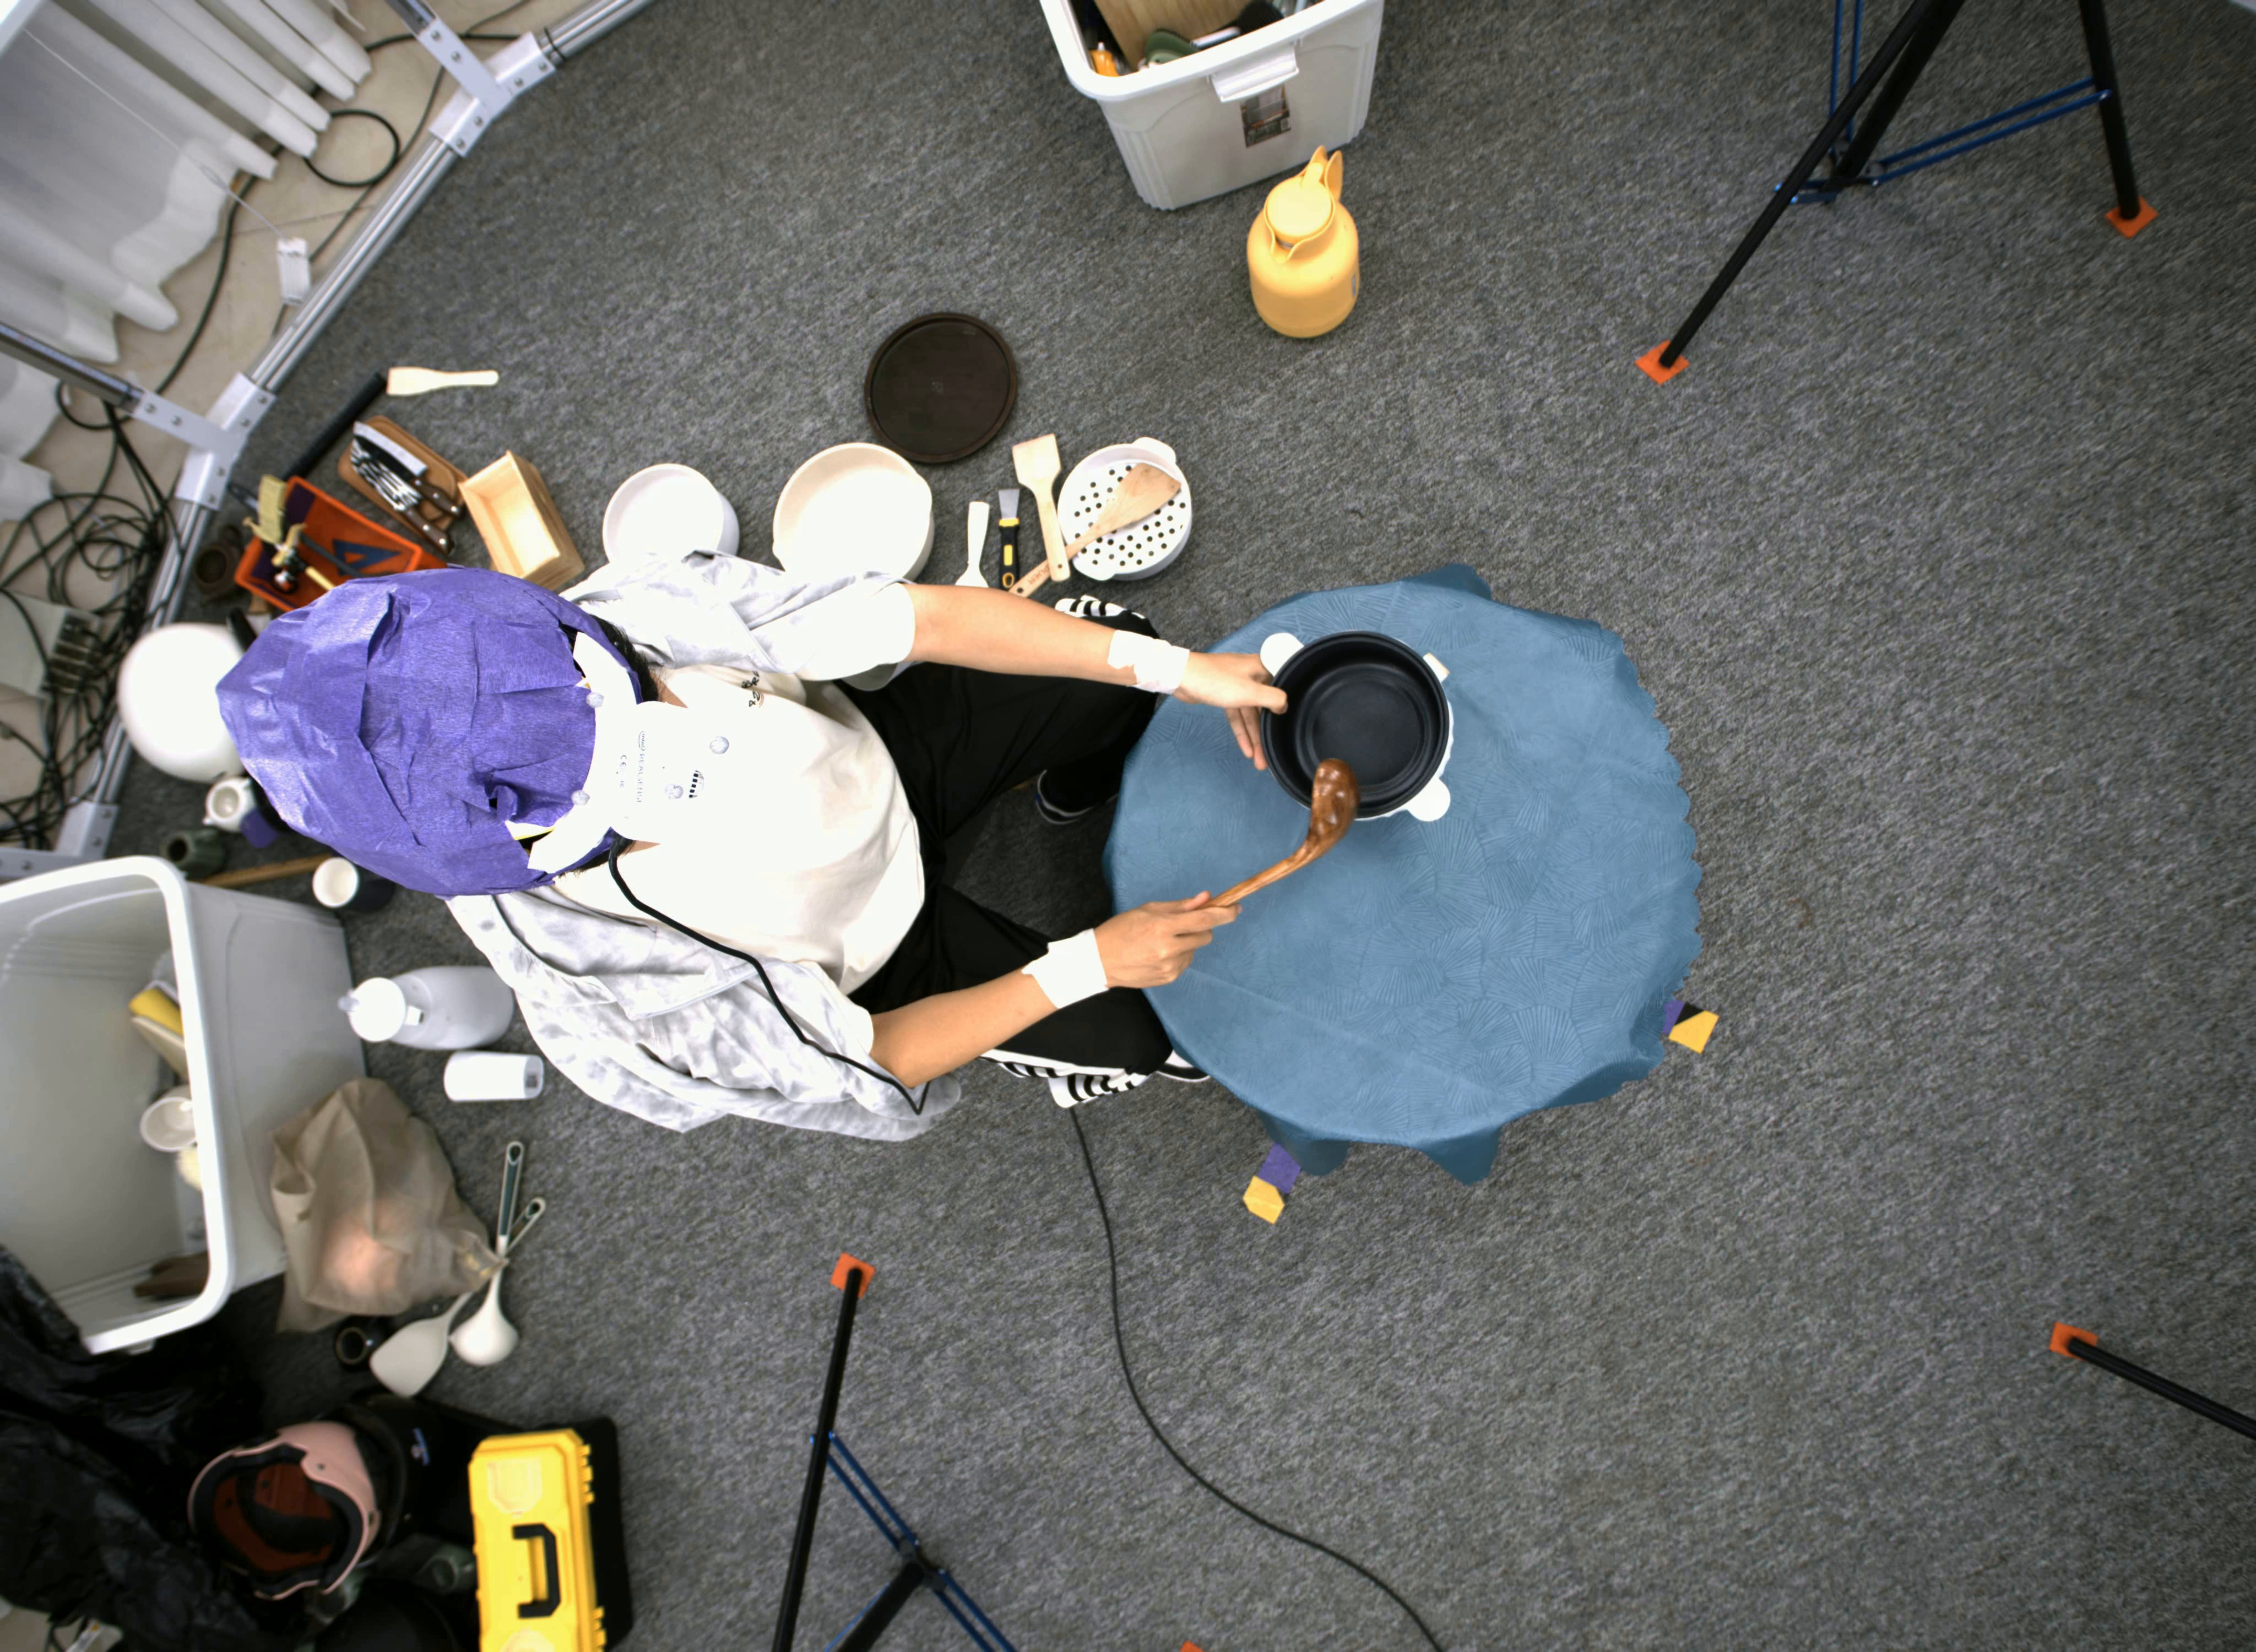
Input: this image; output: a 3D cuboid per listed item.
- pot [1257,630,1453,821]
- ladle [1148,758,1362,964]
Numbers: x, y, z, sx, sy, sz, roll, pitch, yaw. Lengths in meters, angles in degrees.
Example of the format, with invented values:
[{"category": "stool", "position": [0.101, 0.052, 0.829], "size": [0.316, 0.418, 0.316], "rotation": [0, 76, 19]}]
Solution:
[{"category": "pot", "position": [0.234, -0.100, 1.365], "size": [0.239, 0.141, 0.193], "rotation": [46, 107, 11]}, {"category": "ladle", "position": [0.110, 0.033, 1.319], "size": [0.279, 0.081, 0.076], "rotation": [-35, 72, 27]}]
